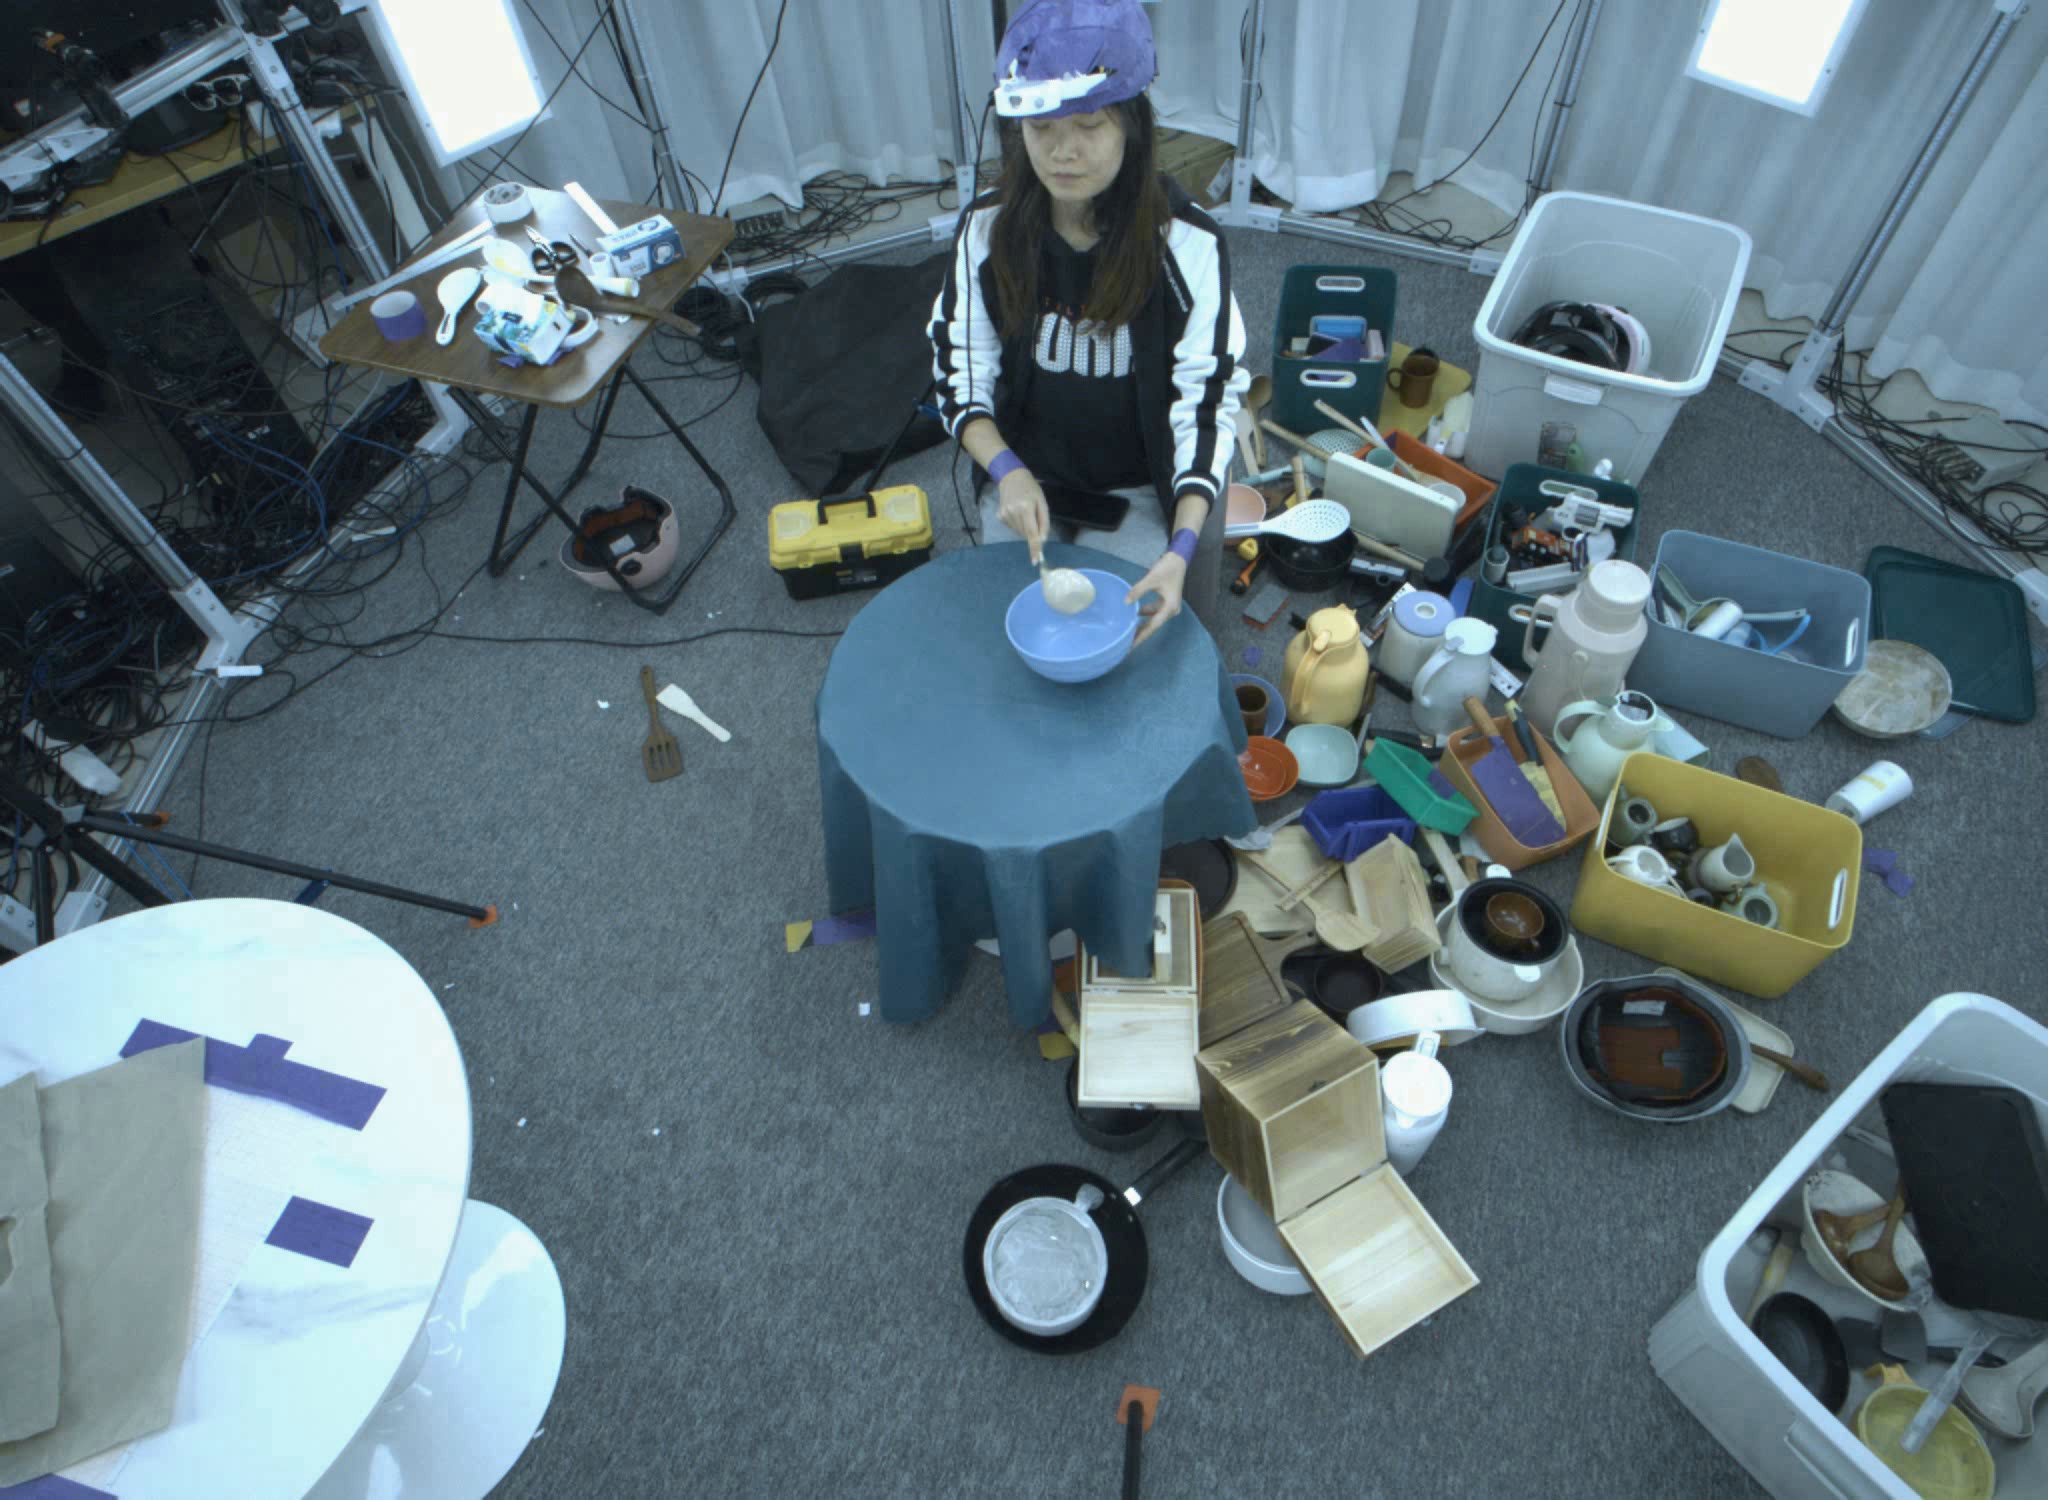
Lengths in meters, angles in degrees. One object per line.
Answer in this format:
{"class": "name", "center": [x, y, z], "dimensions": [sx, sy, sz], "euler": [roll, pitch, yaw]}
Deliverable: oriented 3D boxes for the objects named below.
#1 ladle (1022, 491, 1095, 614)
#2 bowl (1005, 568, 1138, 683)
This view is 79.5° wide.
{"class": "ladle", "center": [0.049, -0.300, 1.792], "dimensions": [0.073, 0.073, 0.251], "euler": [-5, 51, -6]}
{"class": "bowl", "center": [0.077, -0.169, 1.824], "dimensions": [0.195, 0.097, 0.194], "euler": [-6, 49, 8]}
